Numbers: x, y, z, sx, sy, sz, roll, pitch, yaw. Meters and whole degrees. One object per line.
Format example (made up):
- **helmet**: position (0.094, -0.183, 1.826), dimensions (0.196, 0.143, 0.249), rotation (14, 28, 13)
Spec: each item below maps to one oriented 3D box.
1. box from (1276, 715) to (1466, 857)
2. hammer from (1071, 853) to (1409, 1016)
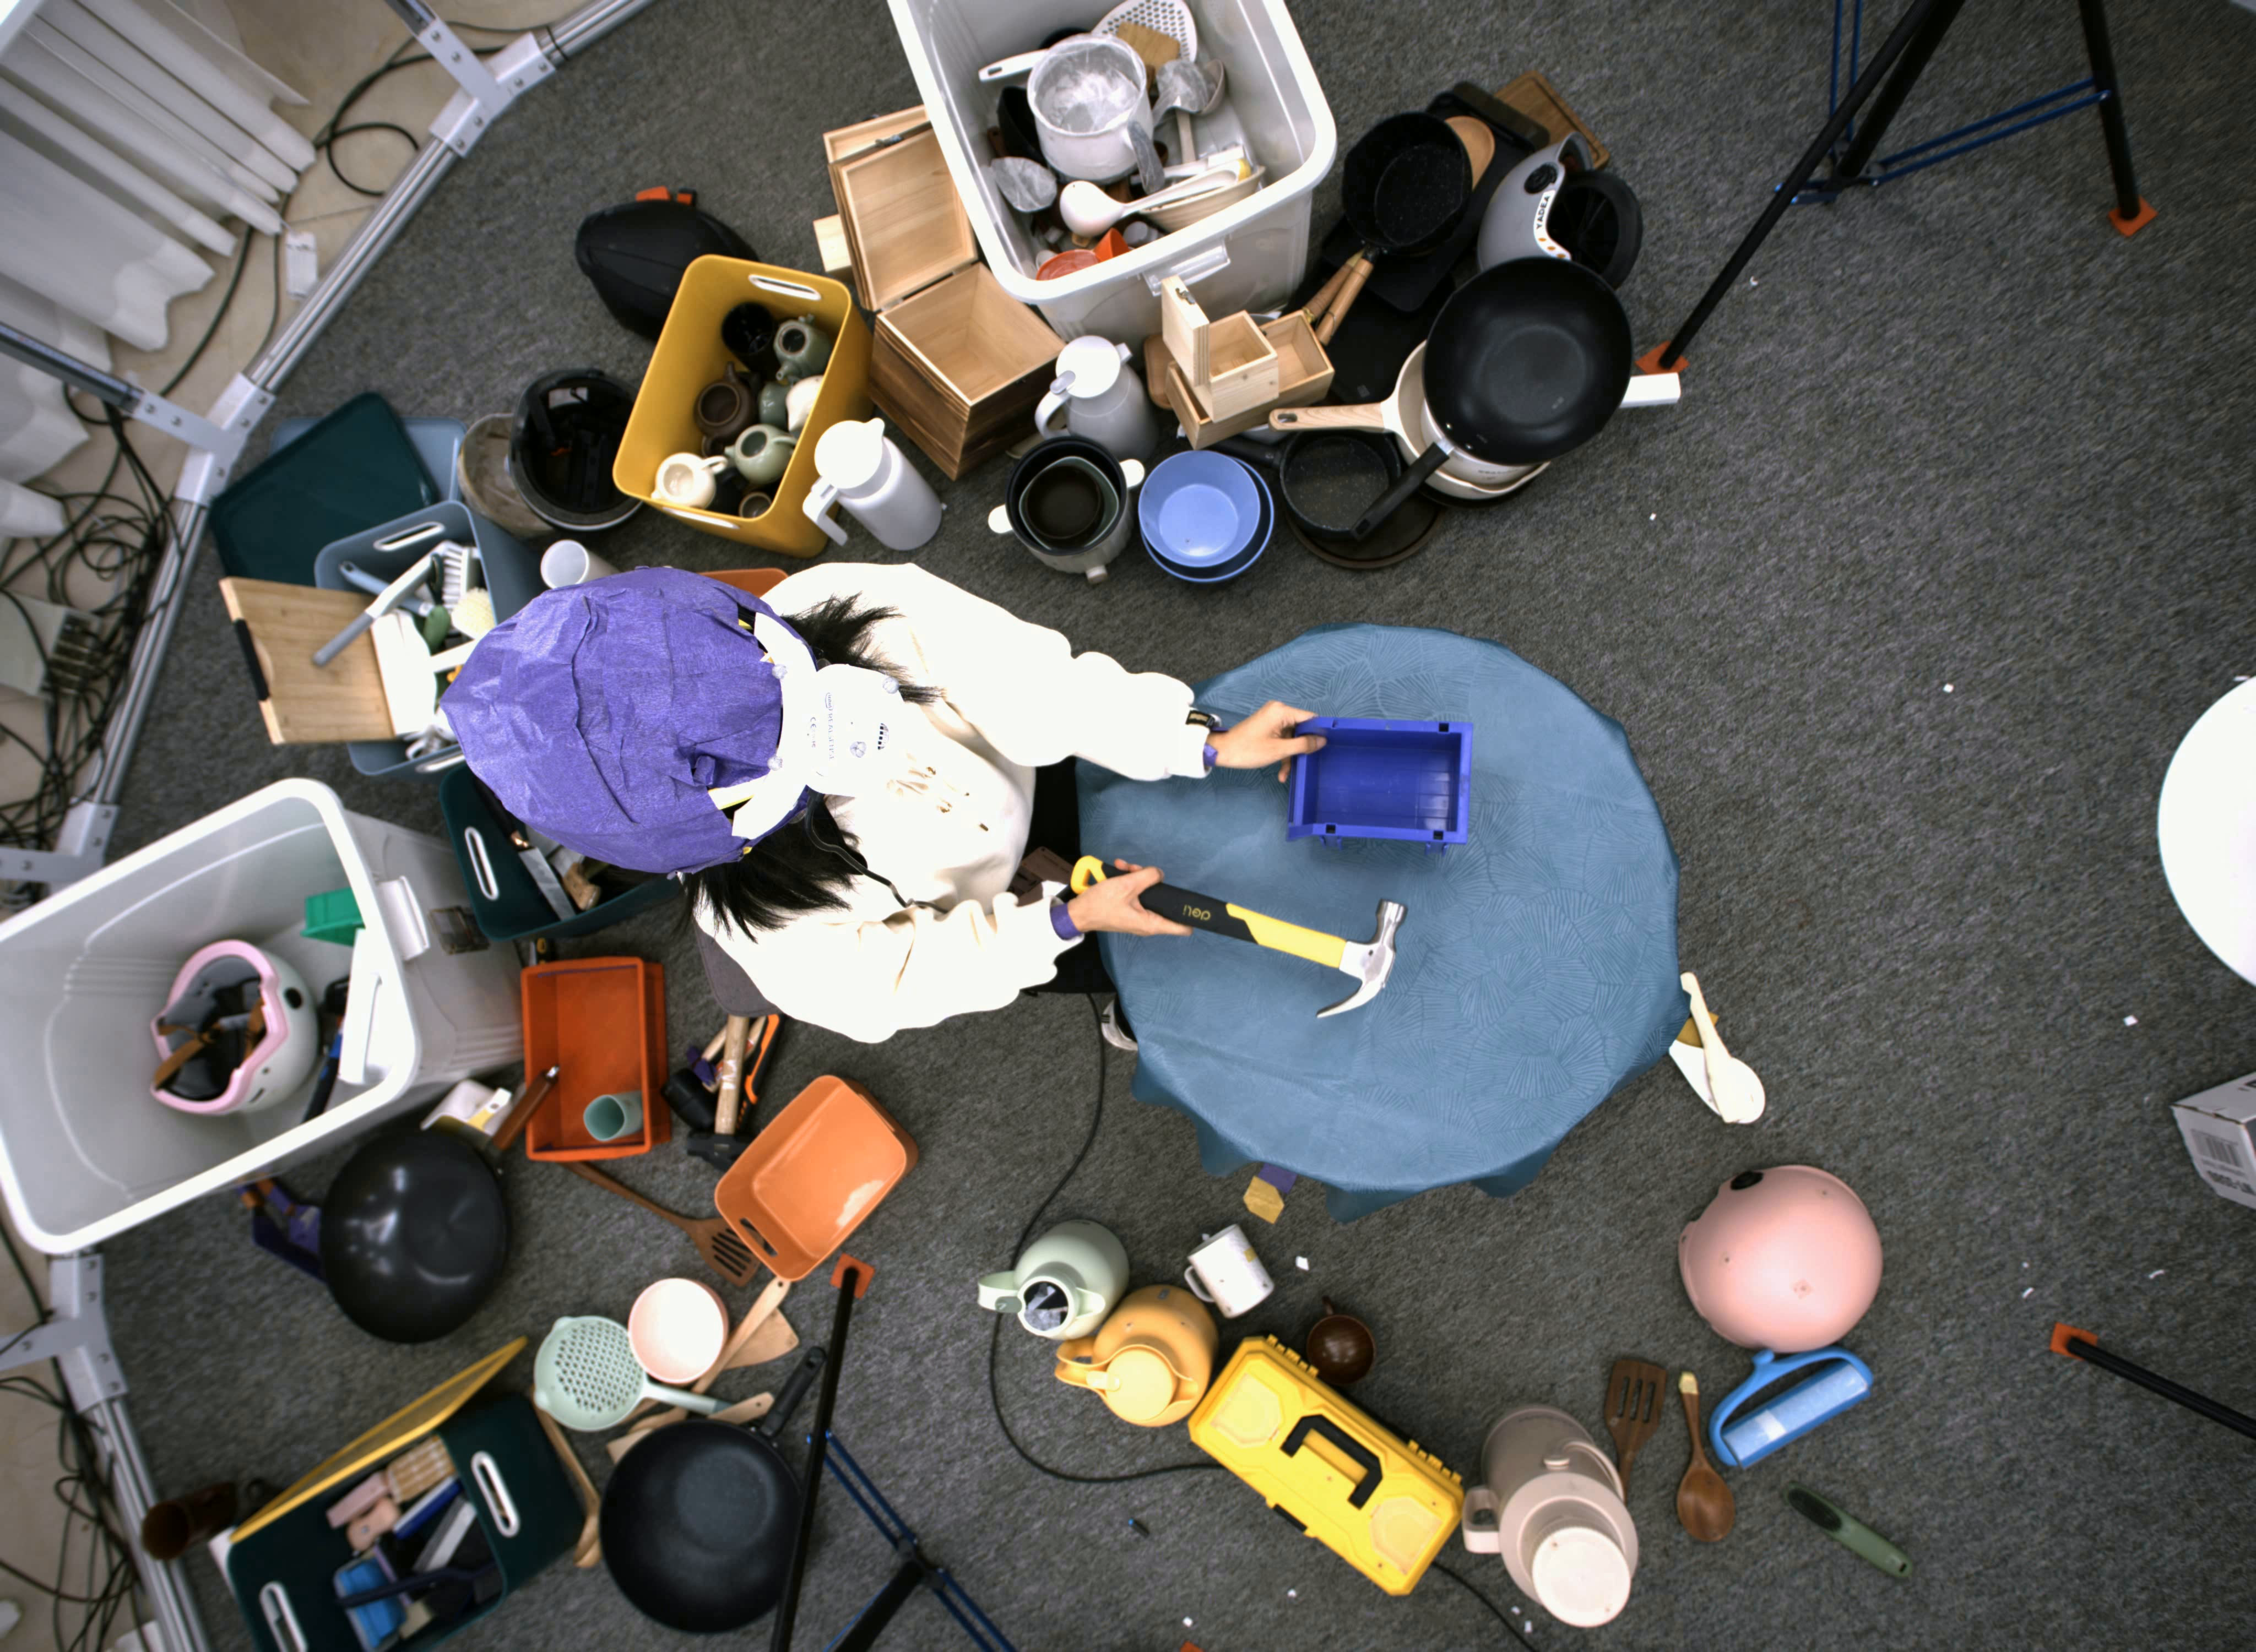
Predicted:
- **box**: position (0.242, -0.041, 1.388), dimensions (0.180, 0.082, 0.124), rotation (4, 85, 10)
- **hammer**: position (0.102, 0.092, 1.399), dimensions (0.339, 0.032, 0.132), rotation (17, 99, 13)
